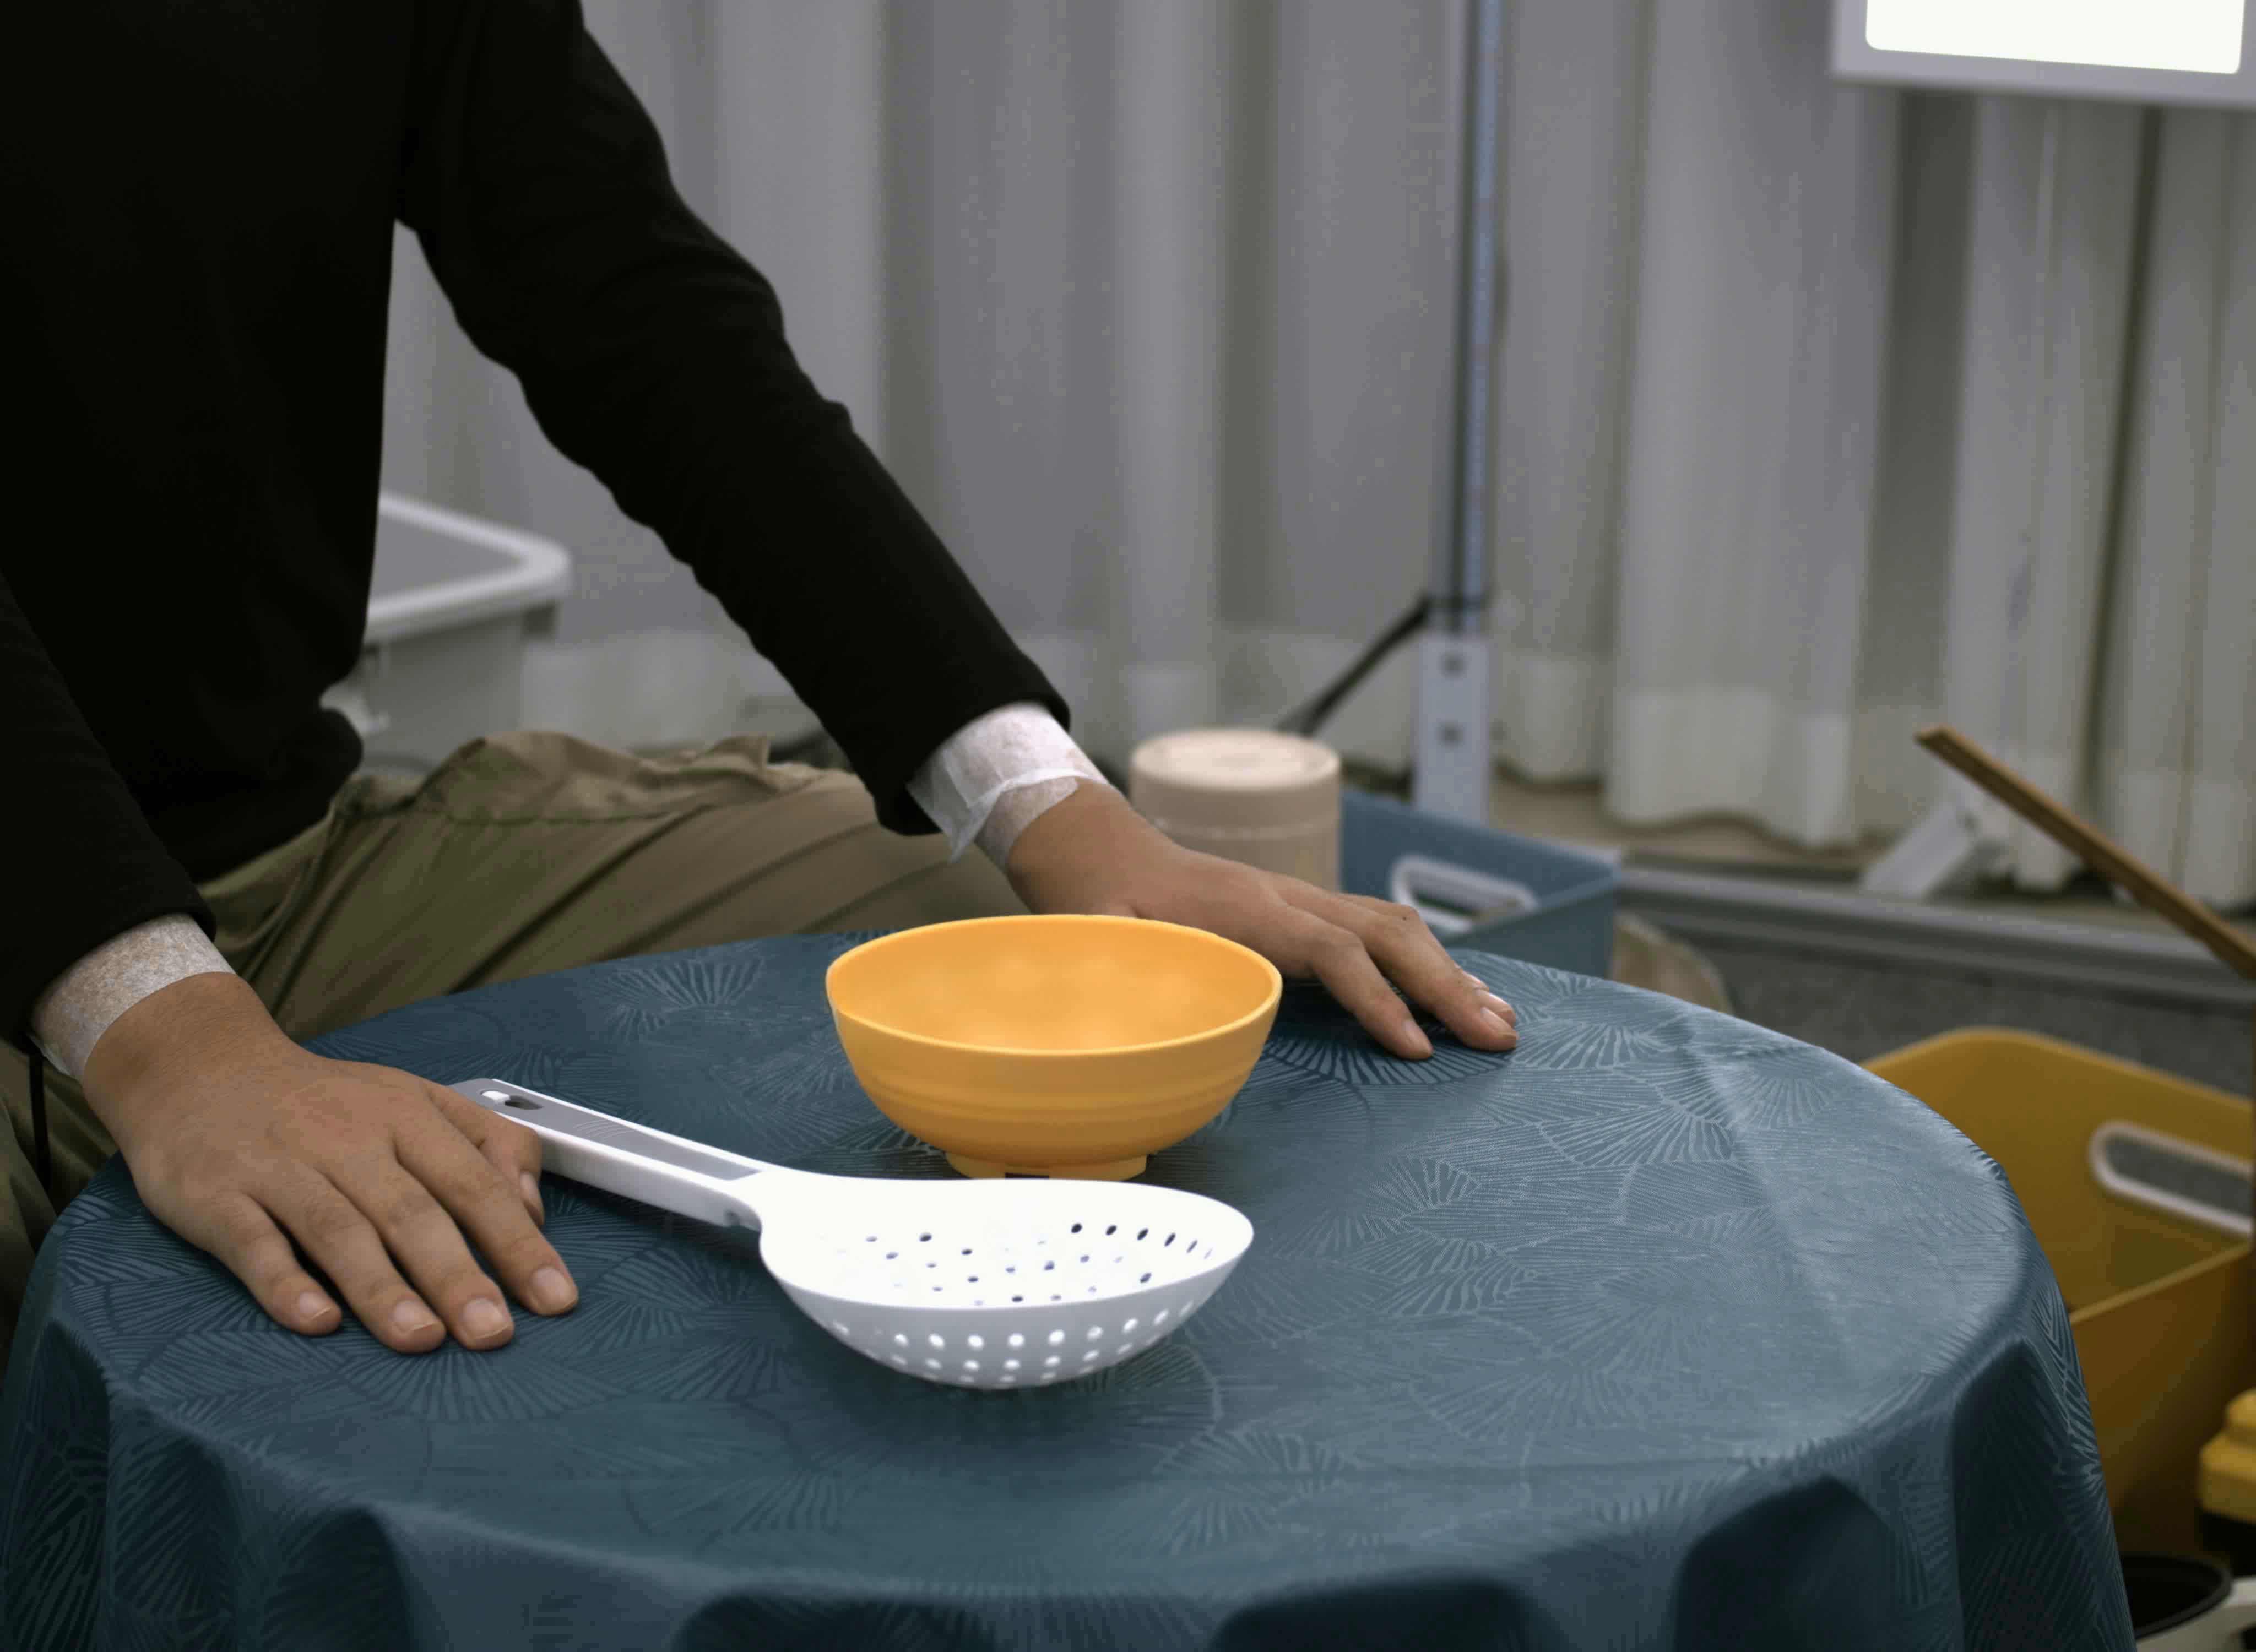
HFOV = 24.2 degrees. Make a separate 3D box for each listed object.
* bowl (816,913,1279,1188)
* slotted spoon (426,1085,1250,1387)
[{"bbox_3d":[-0.026,0.076,1.645,0.145,0.060,0.144,2,16,0],"label":"bowl"},{"bbox_3d":[-0.103,0.110,1.541,0.137,0.046,0.345,-12,19,-39],"label":"slotted spoon"}]
